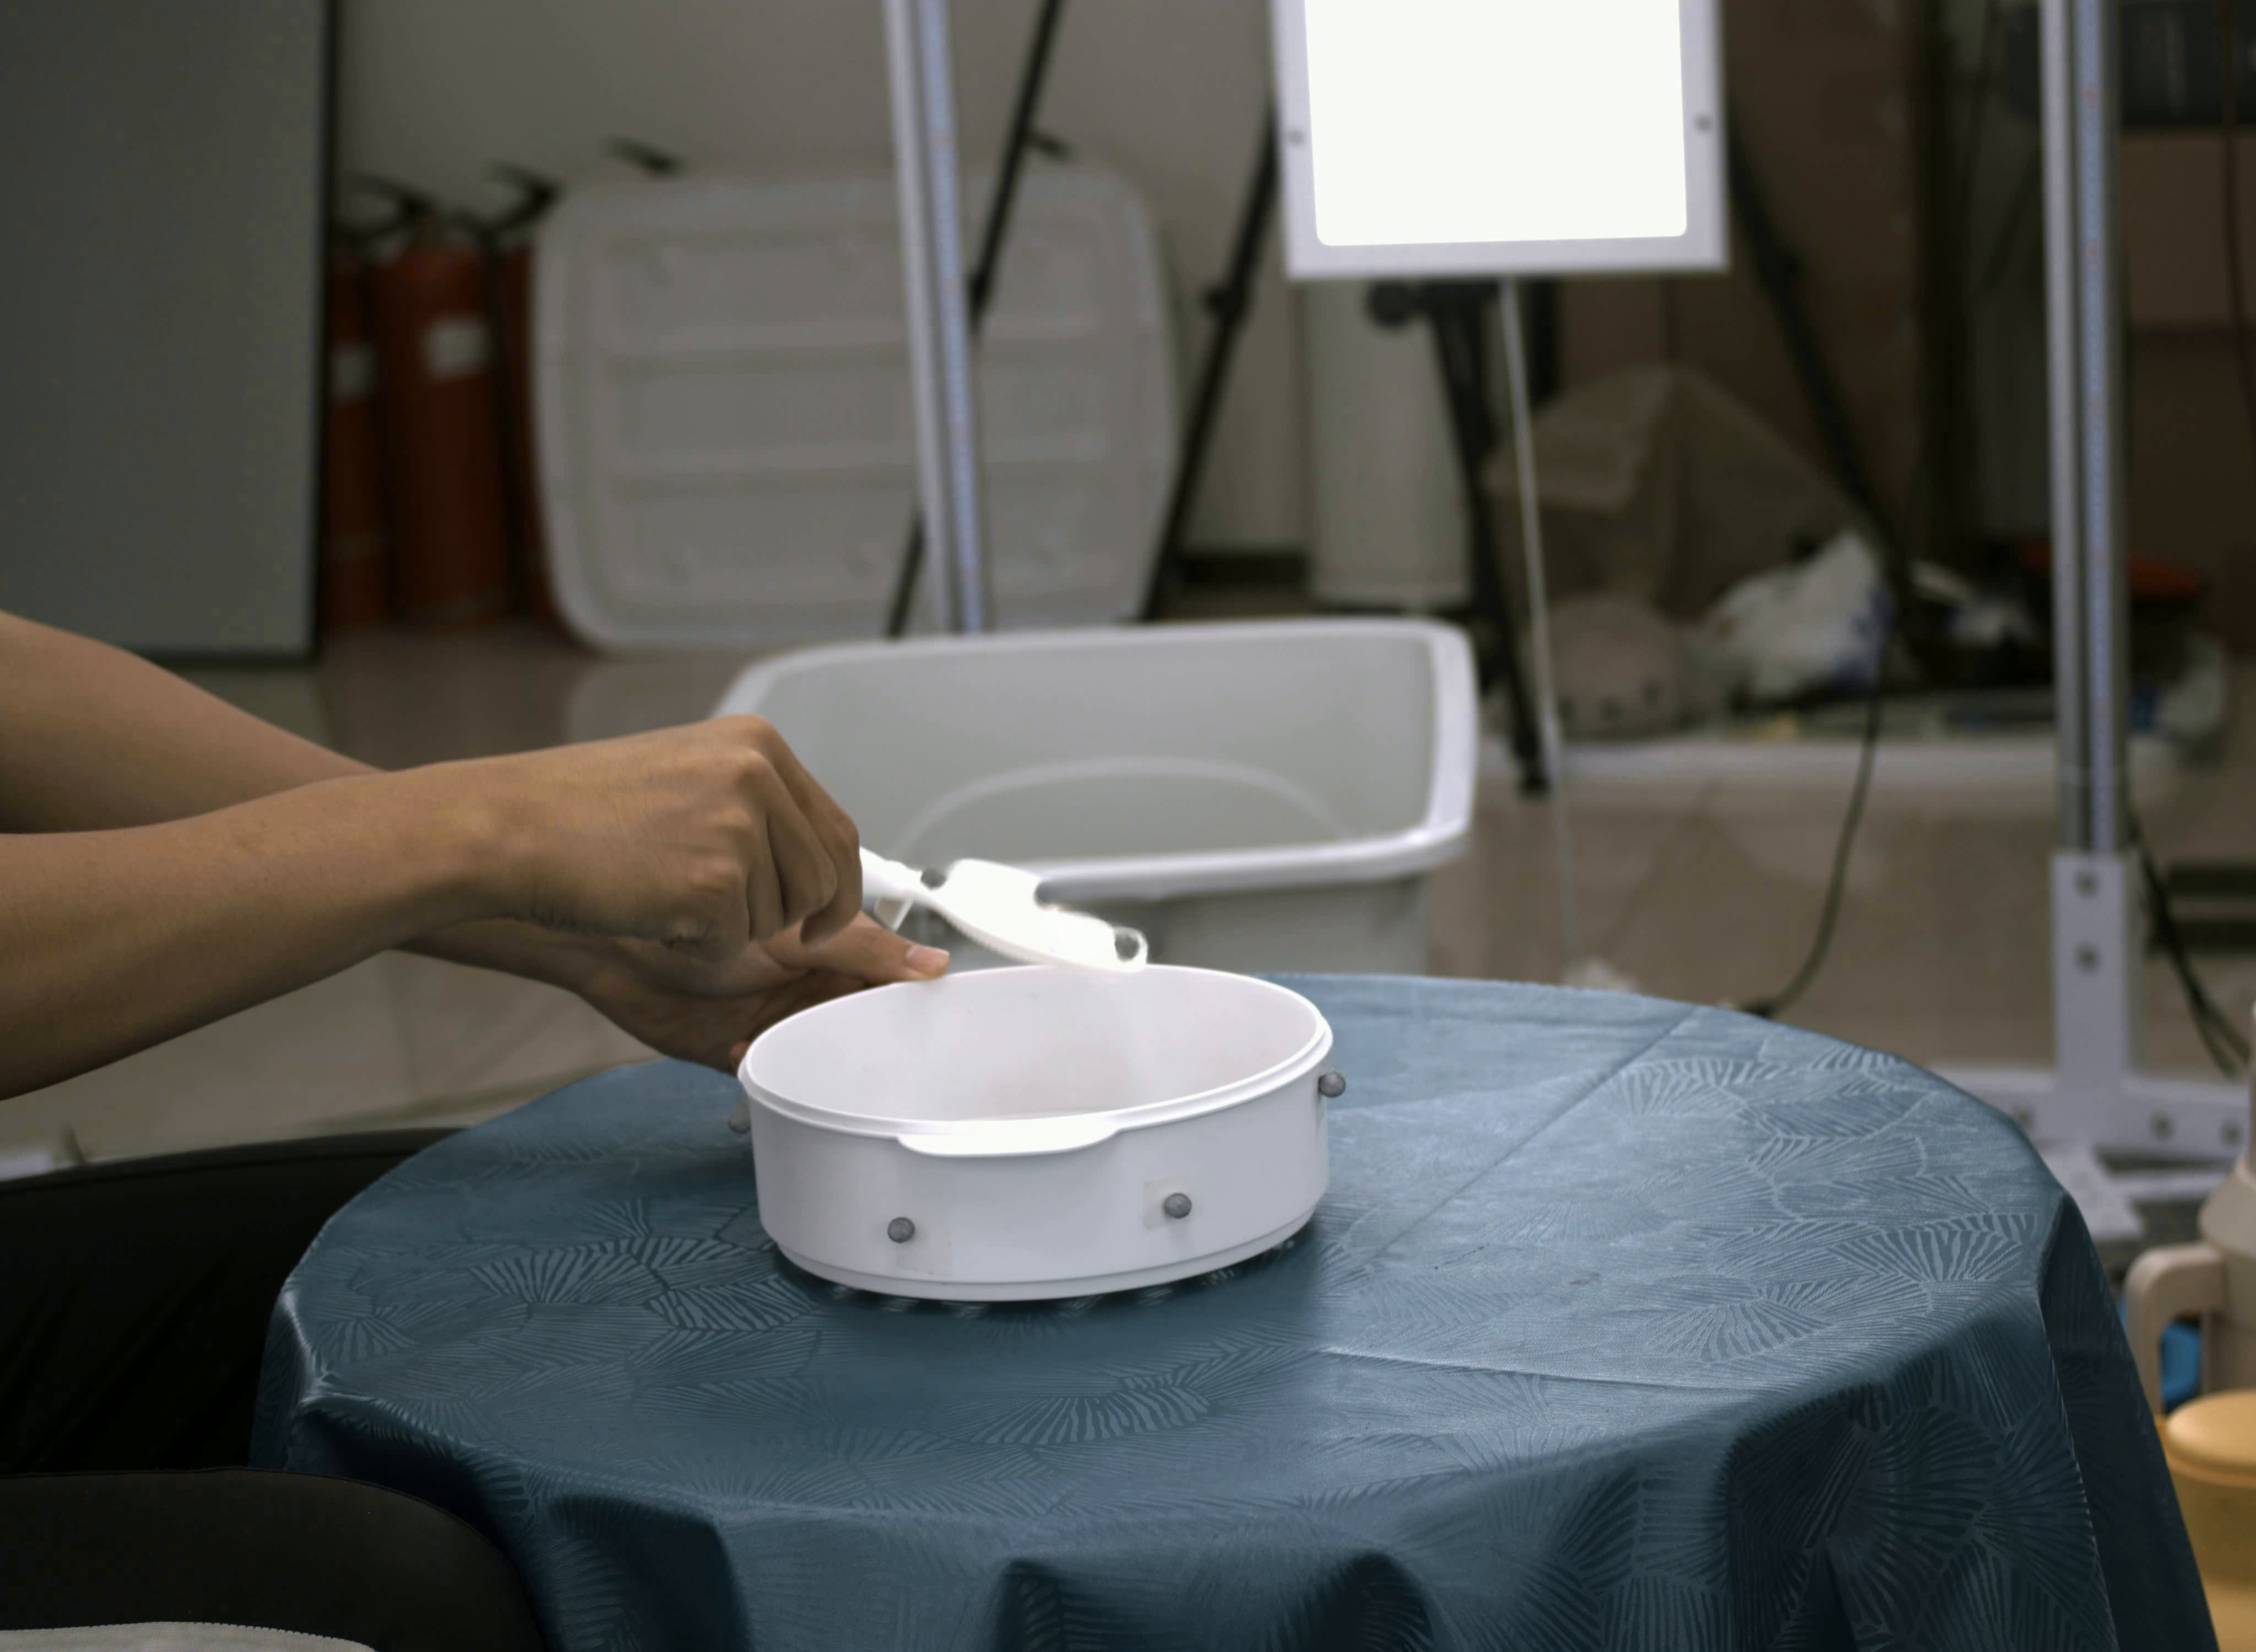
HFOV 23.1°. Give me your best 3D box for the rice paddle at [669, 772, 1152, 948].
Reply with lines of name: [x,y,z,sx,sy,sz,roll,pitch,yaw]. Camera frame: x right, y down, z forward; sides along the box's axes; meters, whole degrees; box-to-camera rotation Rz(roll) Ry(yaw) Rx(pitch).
rice paddle: [-0.067,0.012,1.852,0.200,0.030,0.070,13,22,-43]

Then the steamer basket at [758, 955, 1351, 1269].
steamer basket: [-0.023,0.097,1.869,0.202,0.069,0.229,-3,11,7]
